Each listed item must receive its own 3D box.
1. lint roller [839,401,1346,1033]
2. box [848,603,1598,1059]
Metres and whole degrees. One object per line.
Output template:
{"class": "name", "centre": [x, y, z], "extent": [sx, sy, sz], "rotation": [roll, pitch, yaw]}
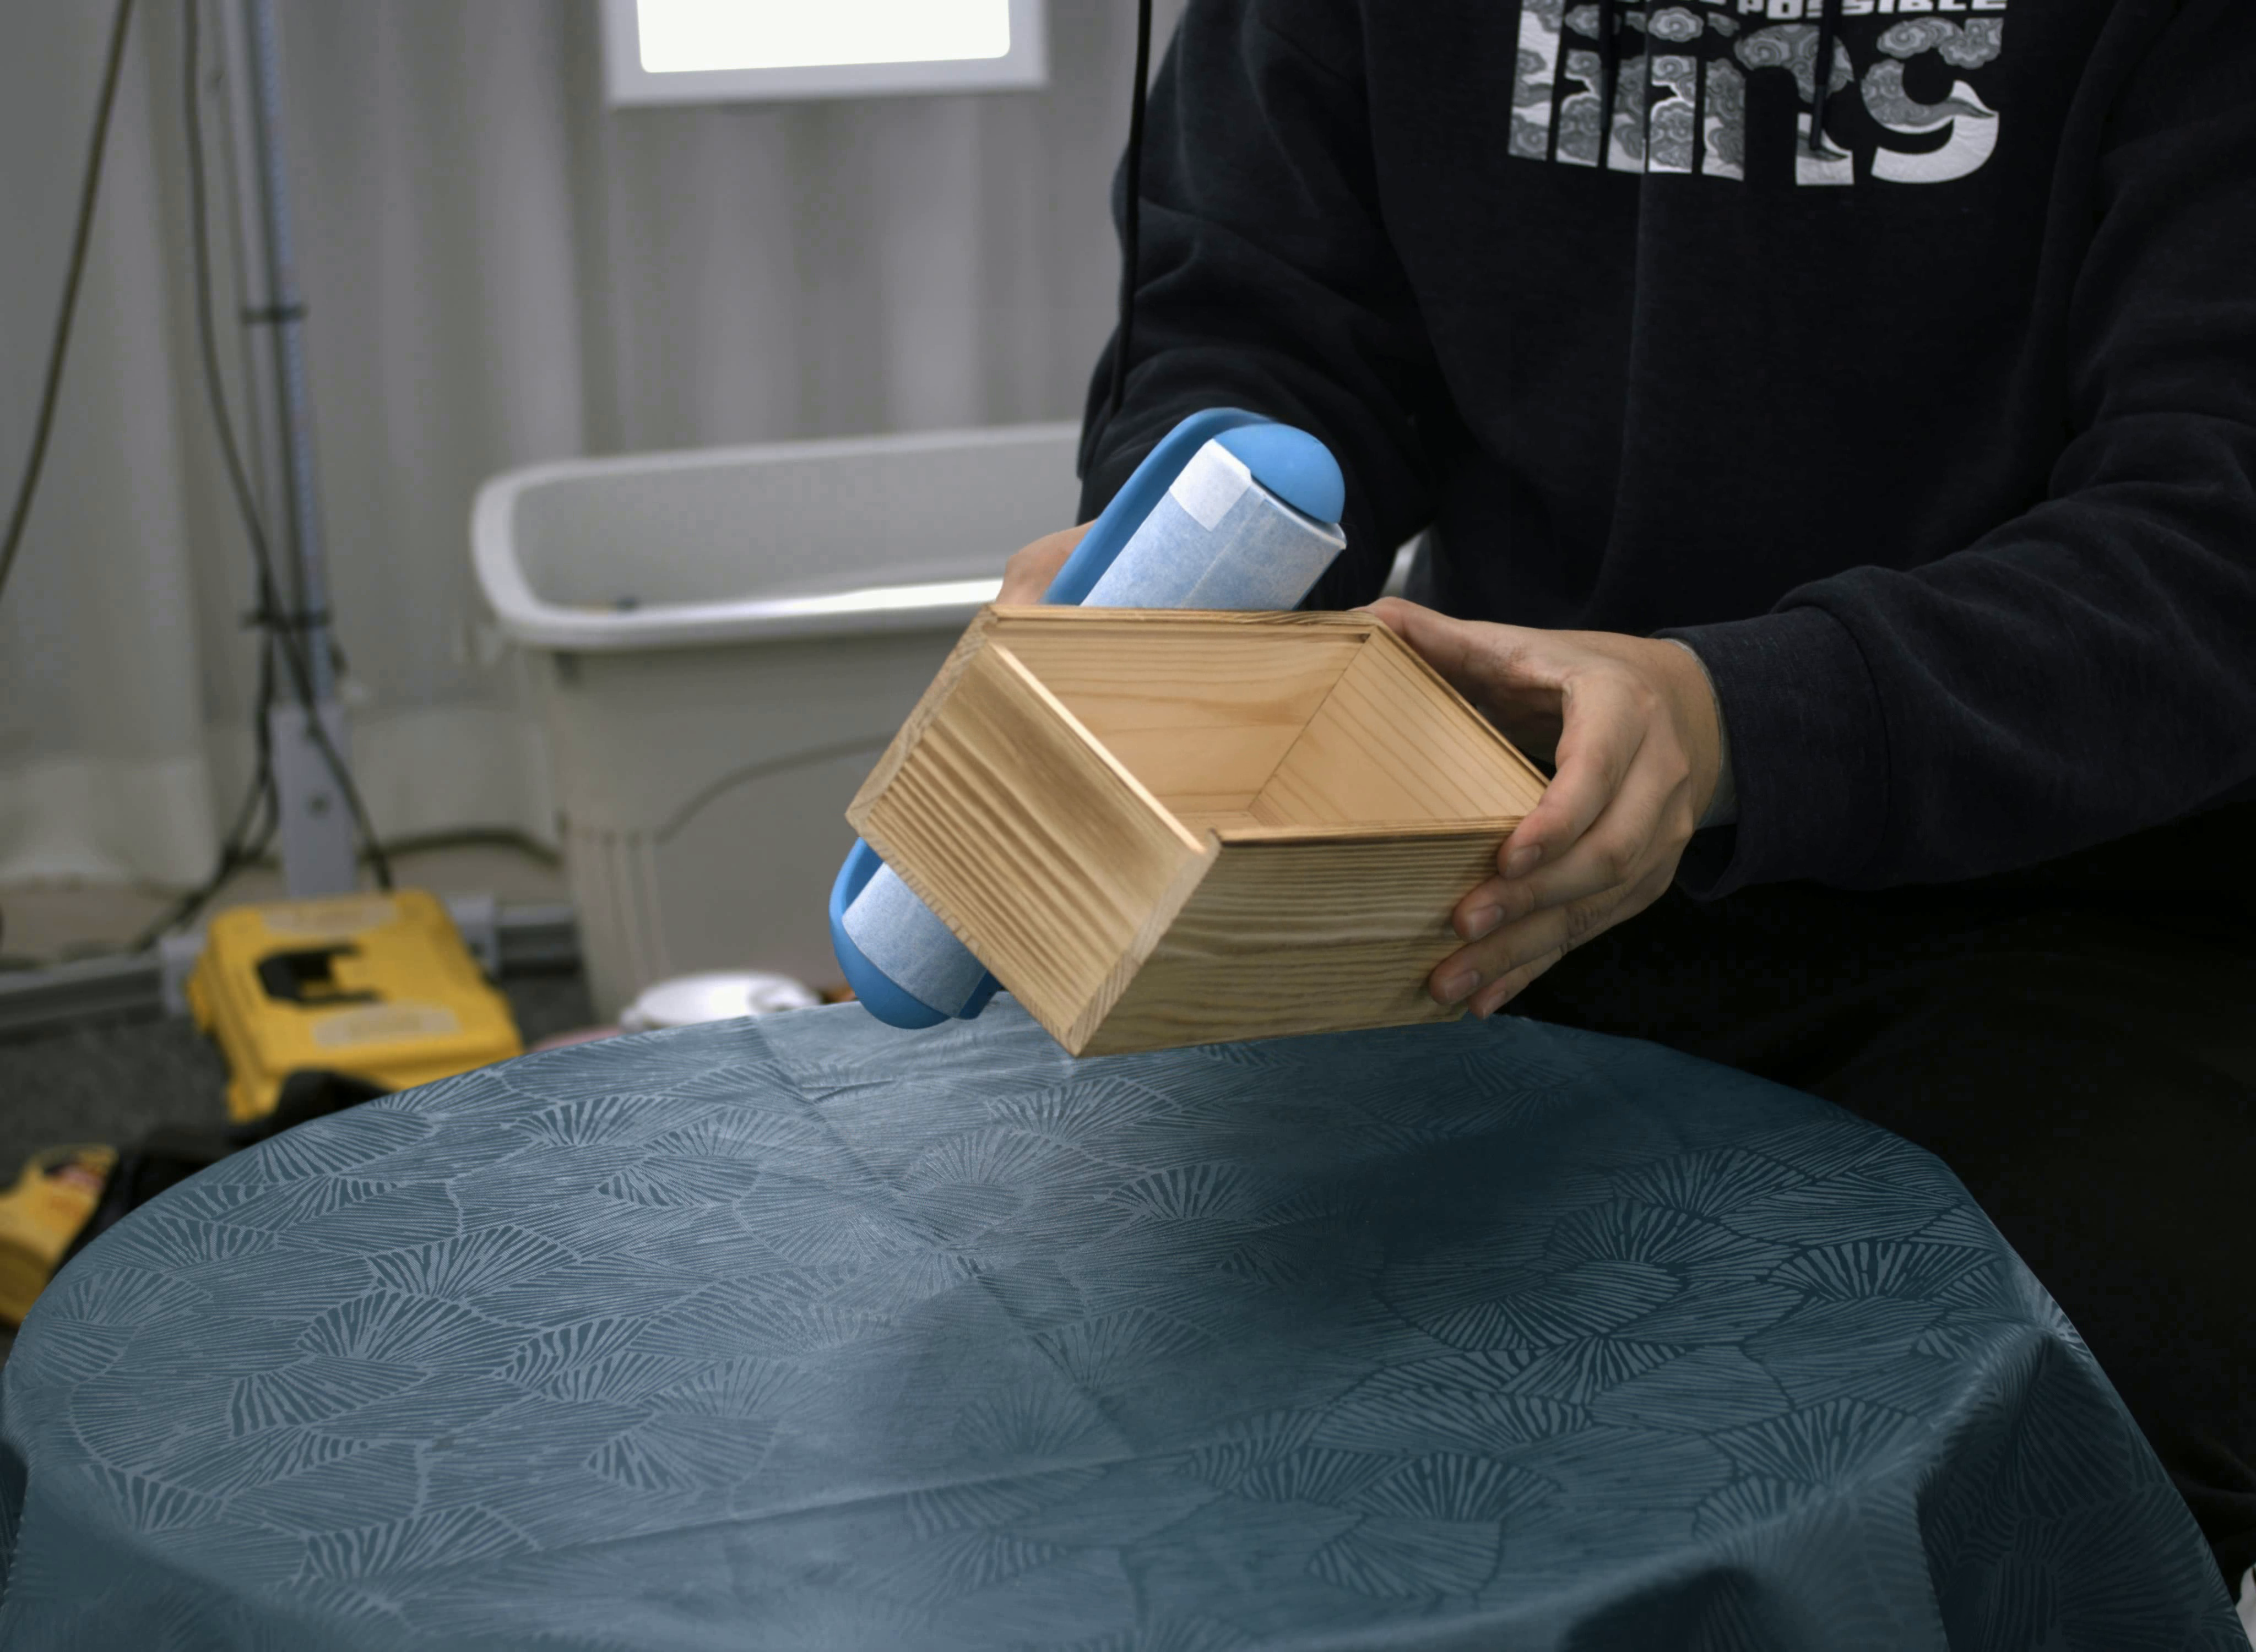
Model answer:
{"class": "lint roller", "centre": [-0.011, -0.045, 1.752], "extent": [0.067, 0.228, 0.181], "rotation": [34, 11, -8]}
{"class": "box", "centre": [0.031, -0.001, 1.616], "extent": [0.108, 0.080, 0.210], "rotation": [45, 24, 25]}
